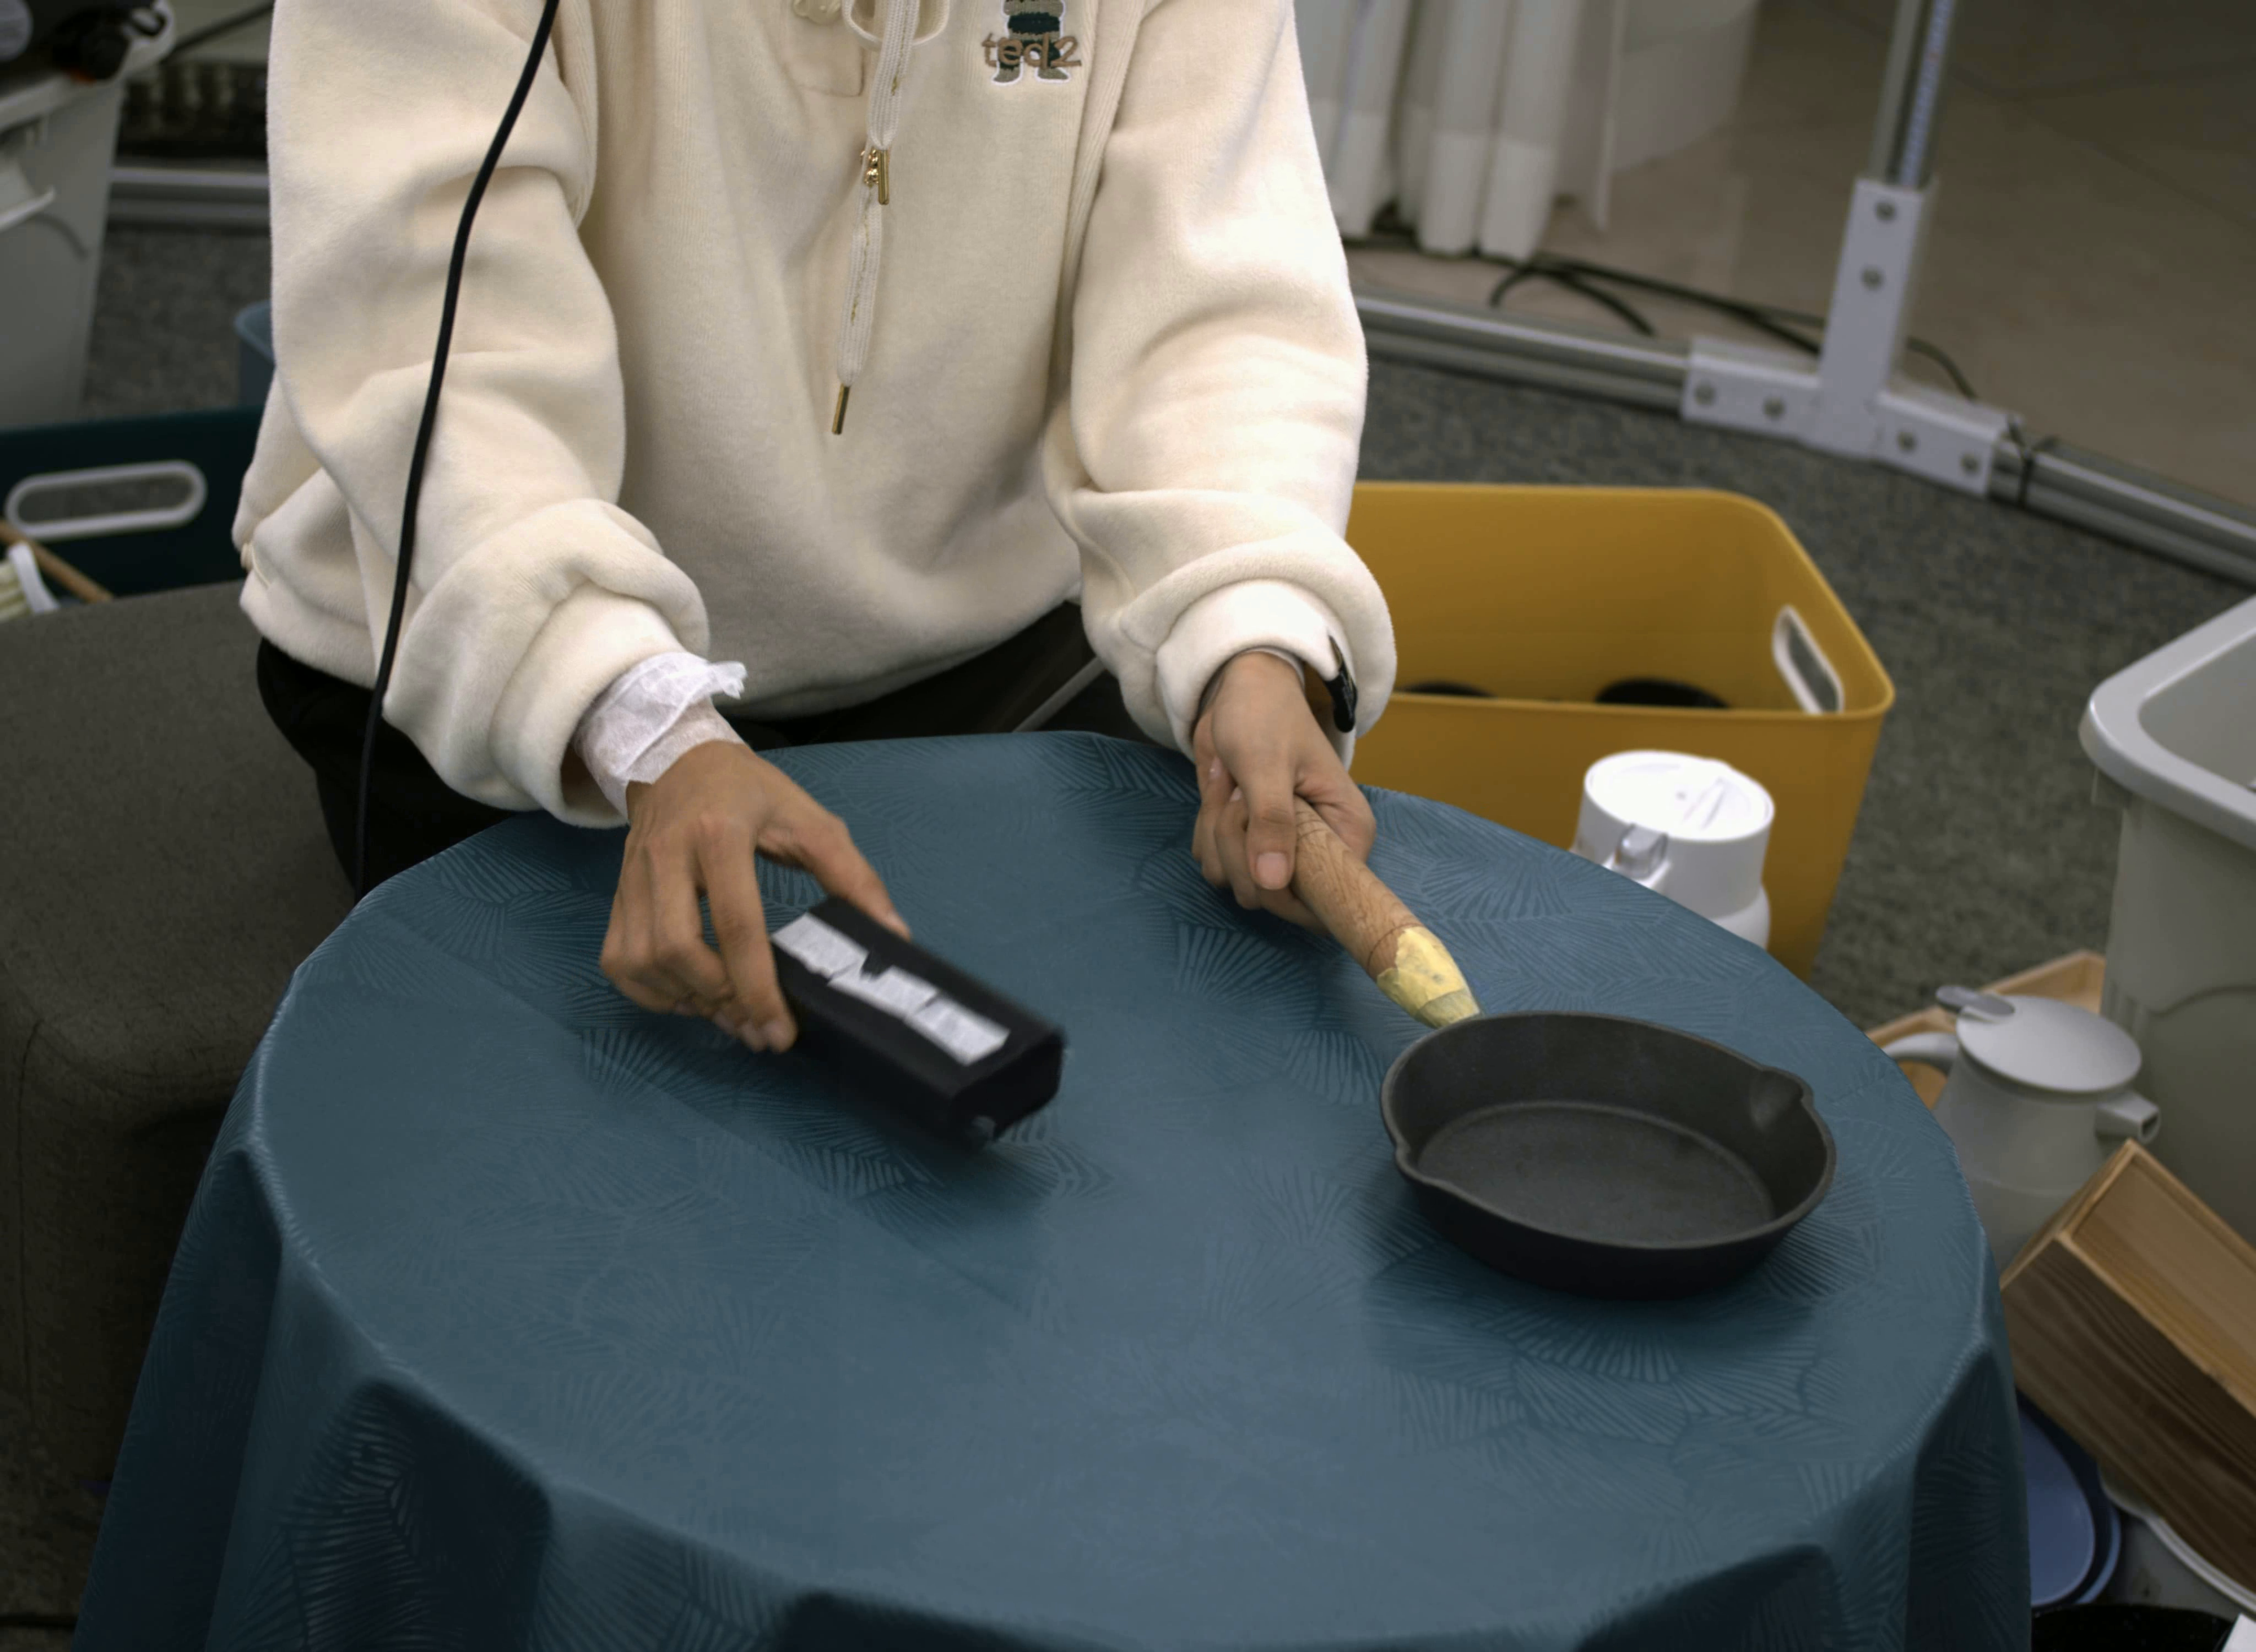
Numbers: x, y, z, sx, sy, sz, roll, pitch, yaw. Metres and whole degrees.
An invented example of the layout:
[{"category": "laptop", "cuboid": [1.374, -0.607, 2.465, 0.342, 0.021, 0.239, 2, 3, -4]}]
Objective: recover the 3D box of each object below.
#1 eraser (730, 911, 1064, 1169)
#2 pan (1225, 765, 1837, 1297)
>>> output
[{"category": "eraser", "cuboid": [-0.079, 0.072, 1.824, 0.053, 0.030, 0.126, -28, 39, -29]}, {"category": "pan", "cuboid": [0.122, 0.070, 1.878, 0.168, 0.049, 0.327, -10, 32, -27]}]
